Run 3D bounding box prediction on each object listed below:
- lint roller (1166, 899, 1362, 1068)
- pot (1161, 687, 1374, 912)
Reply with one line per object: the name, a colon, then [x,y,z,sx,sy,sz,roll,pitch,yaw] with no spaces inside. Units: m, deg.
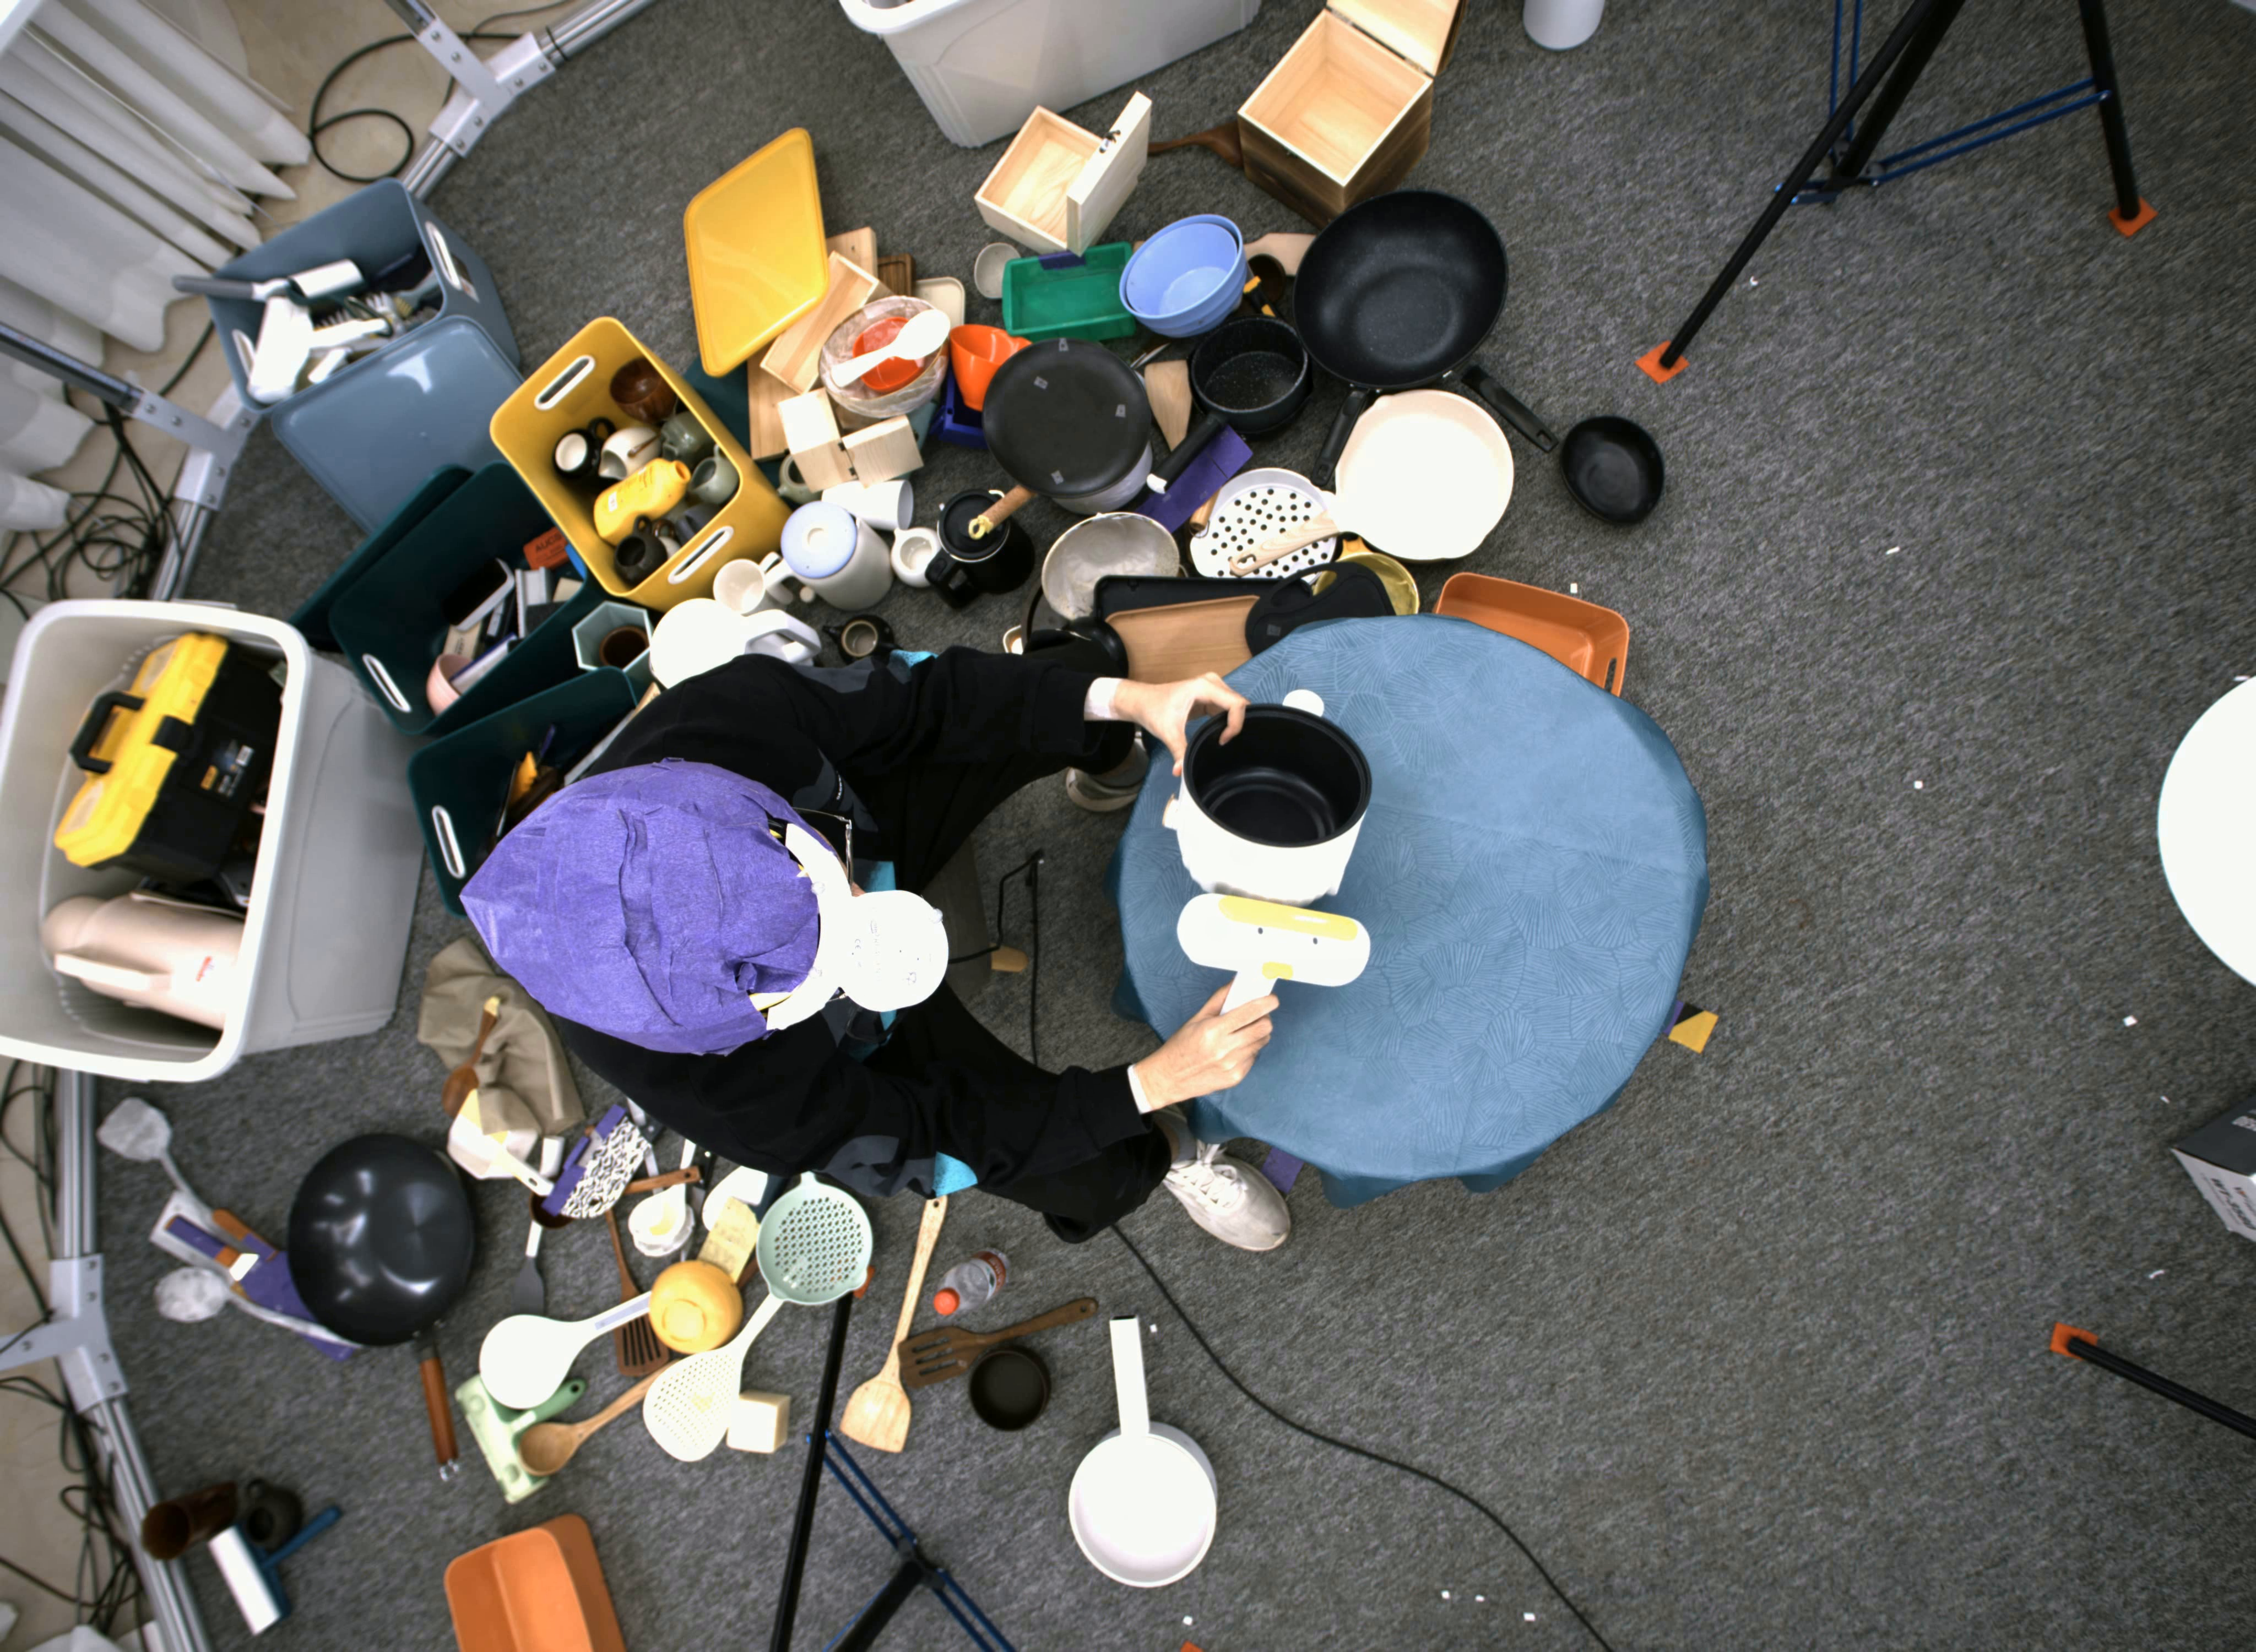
lint roller: [0.117,0.157,1.360,0.192,0.197,0.072,5,43,-18]
pot: [0.131,-0.013,1.351,0.190,0.146,0.234,19,52,6]
